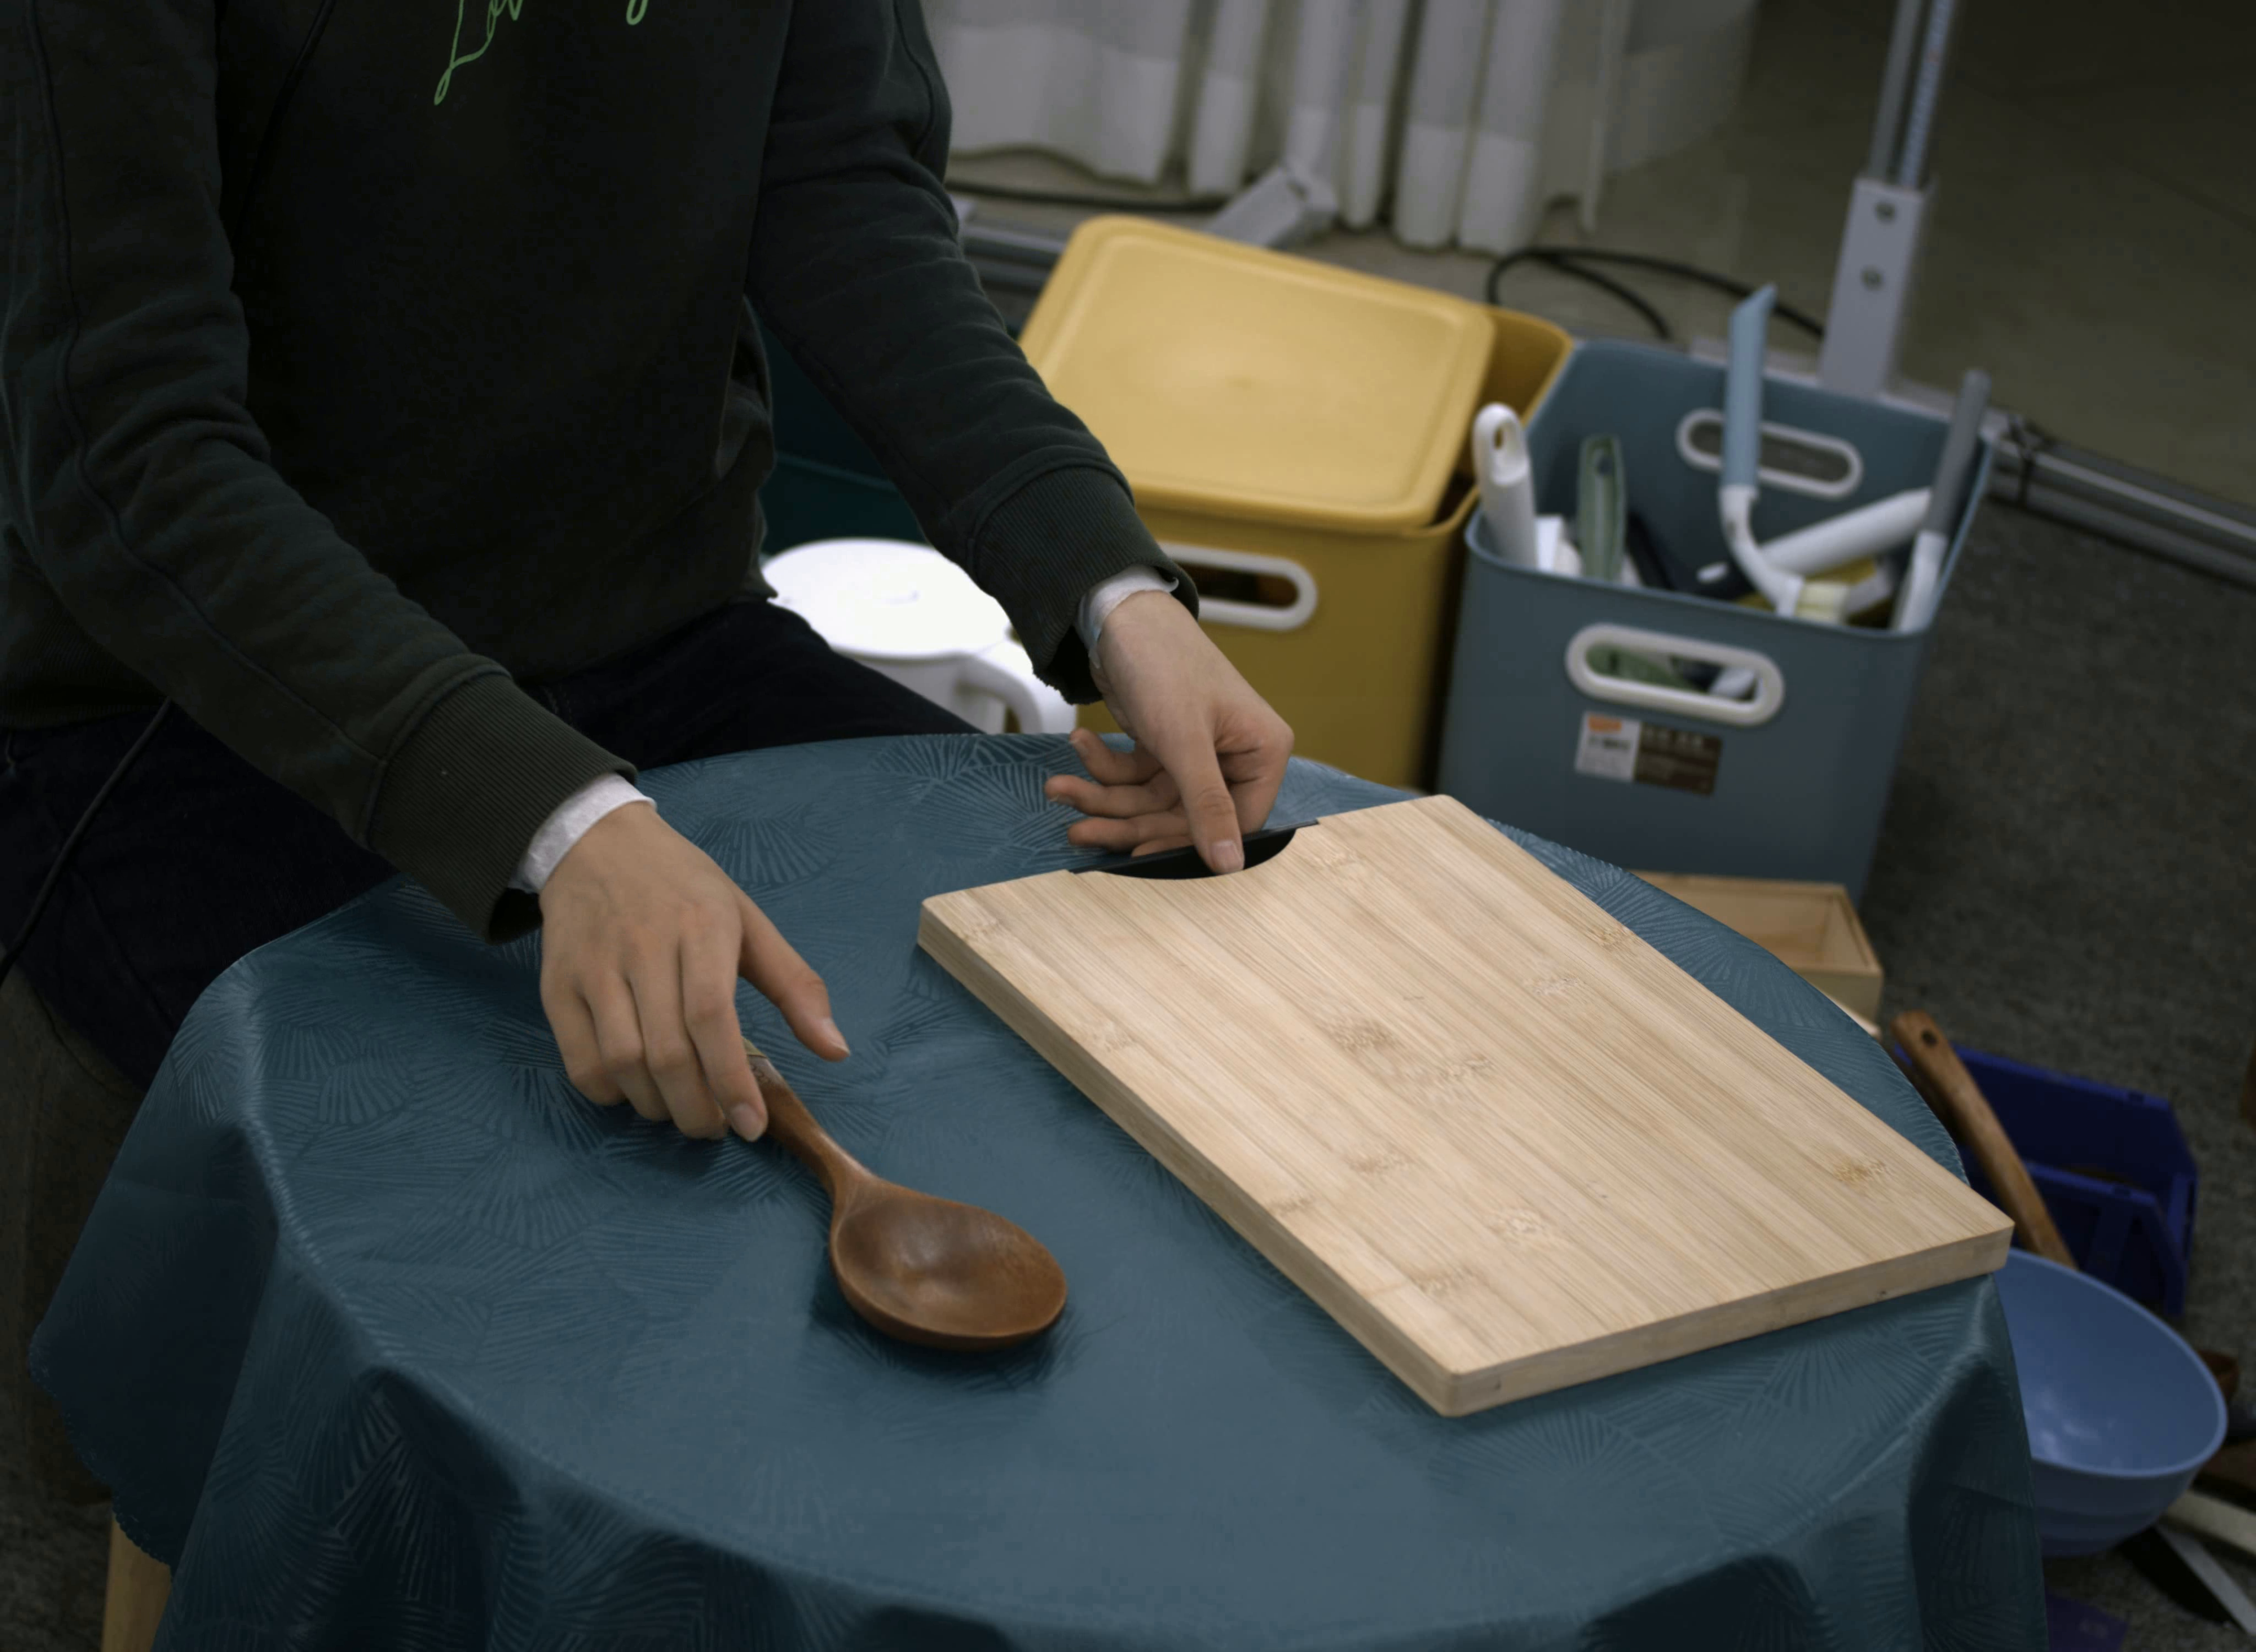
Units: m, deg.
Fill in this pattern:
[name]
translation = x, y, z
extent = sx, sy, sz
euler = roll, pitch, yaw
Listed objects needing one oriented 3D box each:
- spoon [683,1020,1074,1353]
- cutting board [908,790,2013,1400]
[spoon]
translation = -0.091, 0.120, 1.767
extent = 0.075, 0.017, 0.218
euler = -11, 32, -30
[cutting board]
translation = 0.110, 0.087, 1.880
extent = 0.249, 0.023, 0.352
euler = -11, 31, -32
